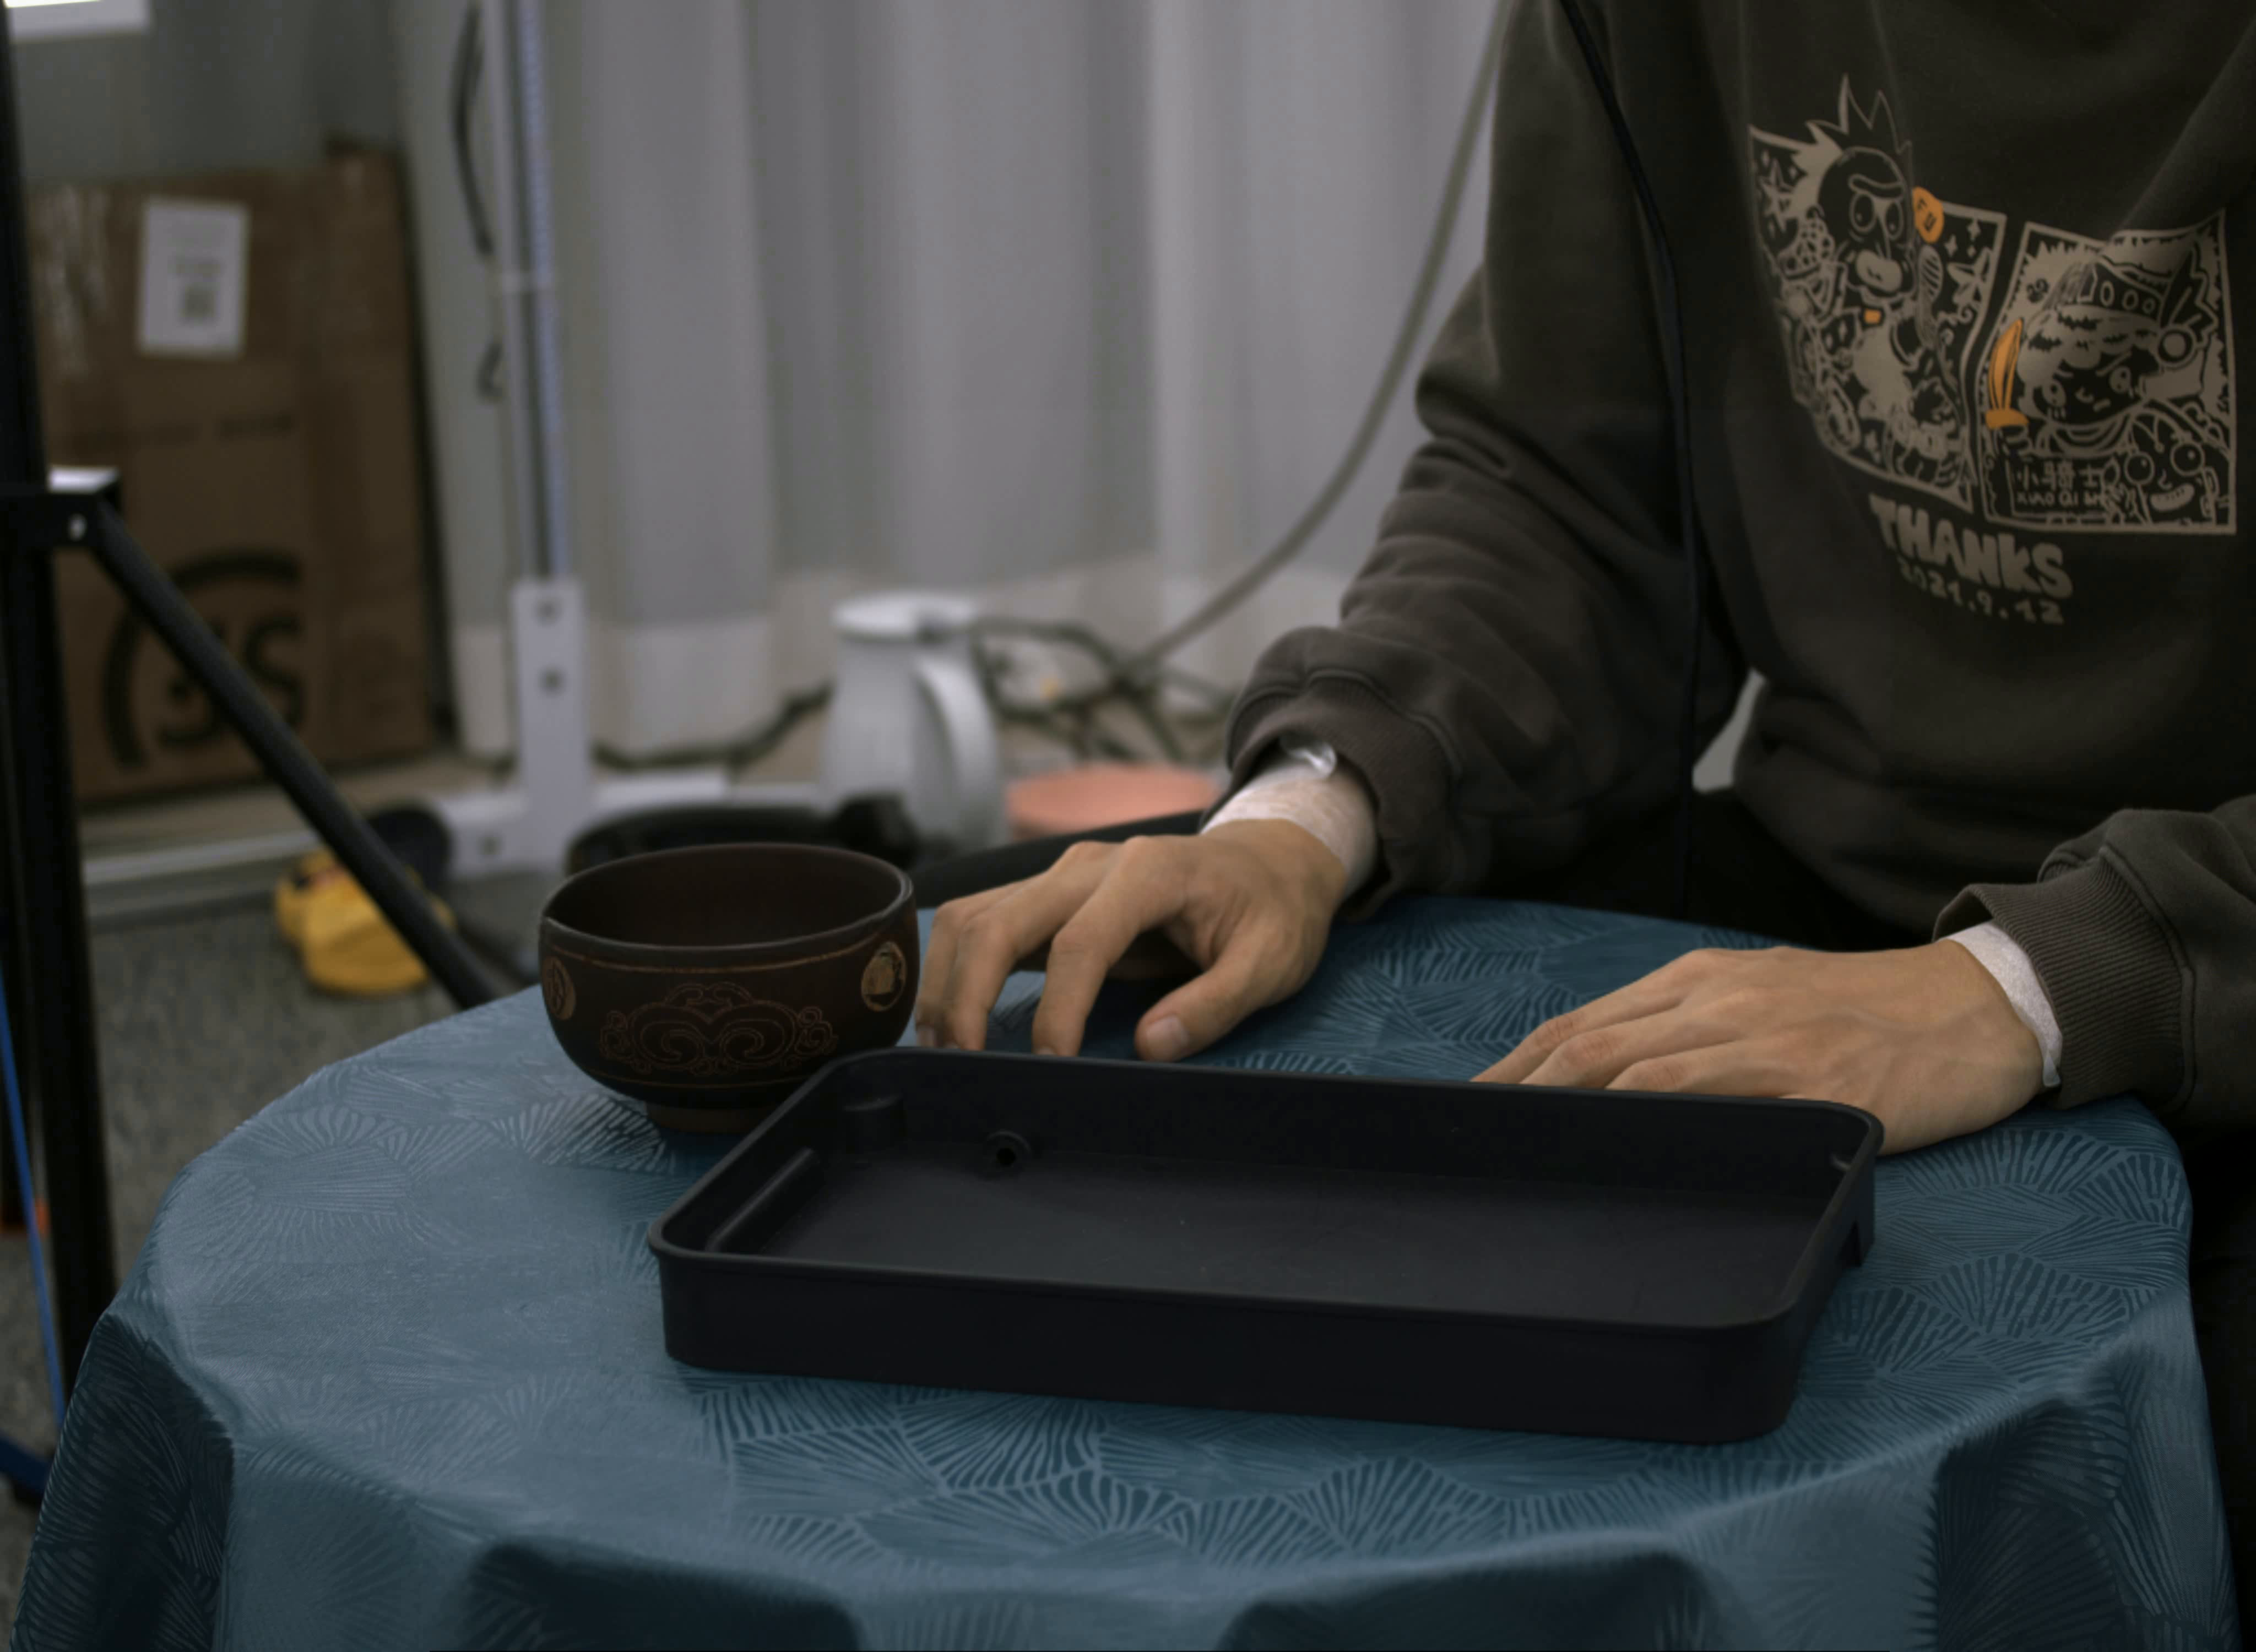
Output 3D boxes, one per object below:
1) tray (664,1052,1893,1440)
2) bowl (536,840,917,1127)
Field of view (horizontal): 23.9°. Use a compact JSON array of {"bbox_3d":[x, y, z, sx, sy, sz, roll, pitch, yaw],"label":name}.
[{"bbox_3d":[0.045,0.113,1.471,0.321,0.037,0.182,2,16,17],"label":"tray"},{"bbox_3d":[-0.123,0.052,1.650,0.117,0.070,0.118,-2,14,-1],"label":"bowl"}]
